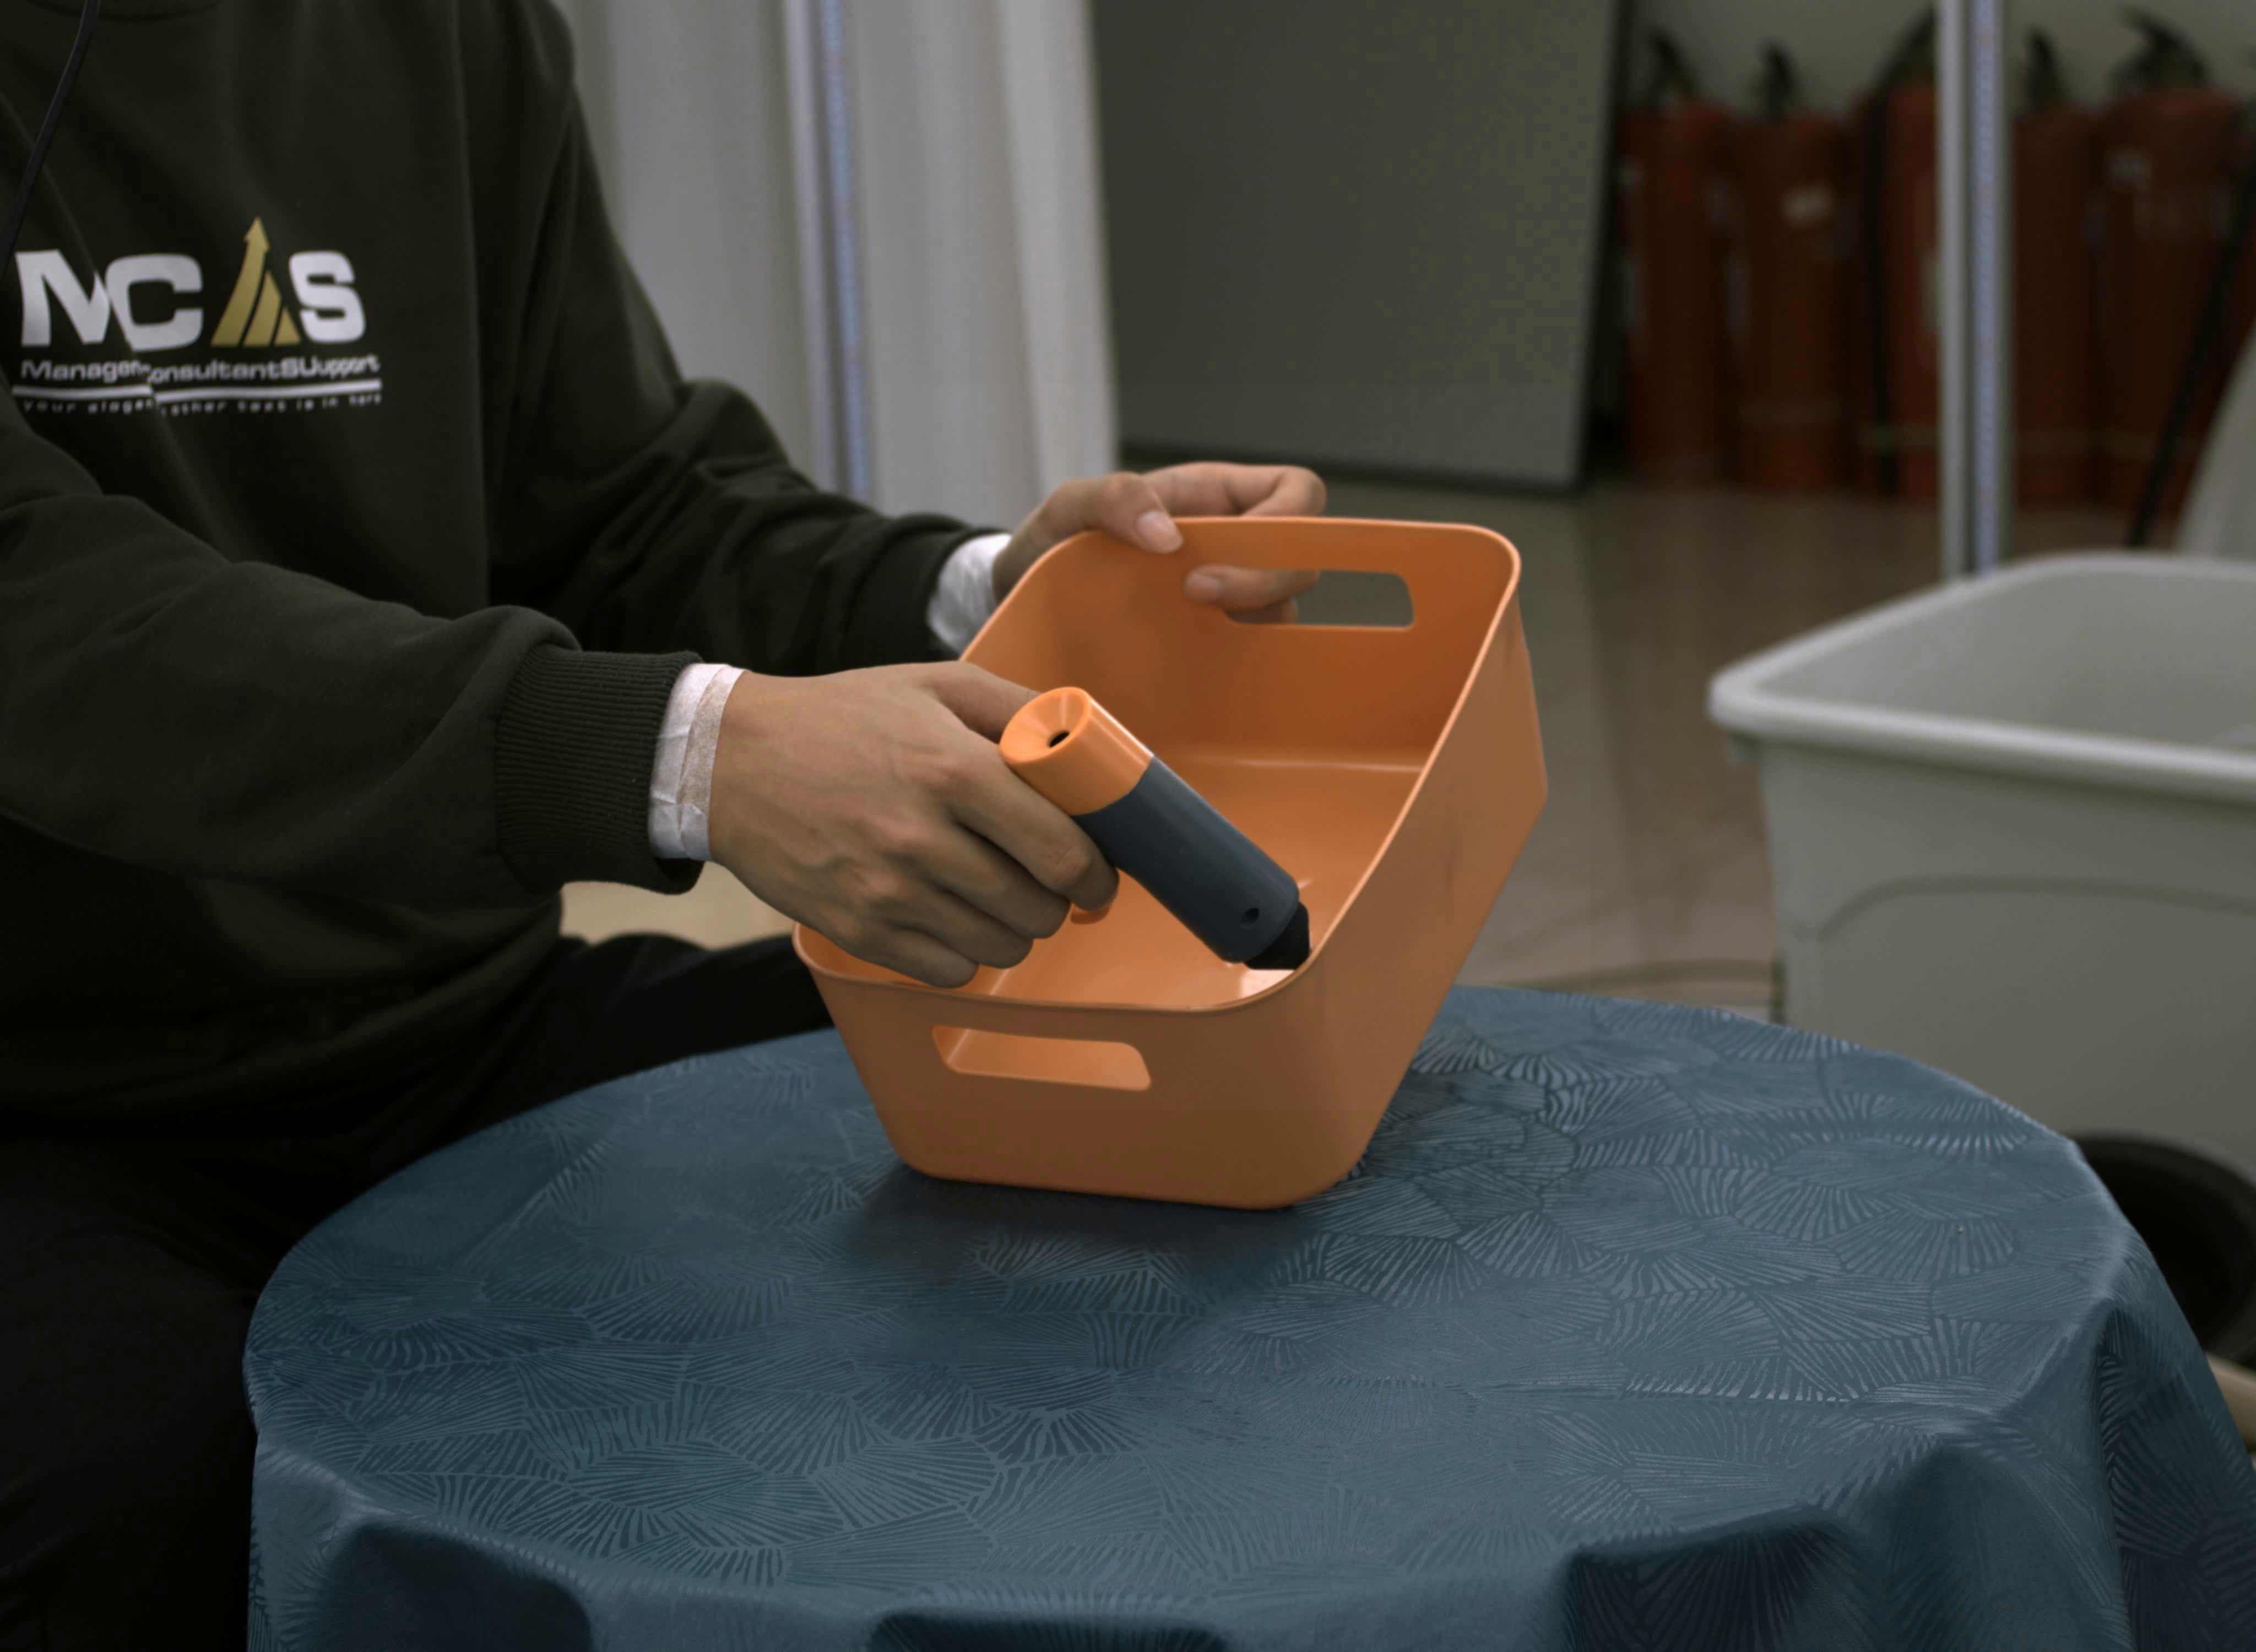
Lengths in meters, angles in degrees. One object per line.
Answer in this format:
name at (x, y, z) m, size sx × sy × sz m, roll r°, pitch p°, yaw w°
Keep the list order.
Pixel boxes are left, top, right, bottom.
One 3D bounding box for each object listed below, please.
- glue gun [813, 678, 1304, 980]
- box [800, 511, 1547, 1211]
glue gun at (-0.021, 0.011, 1.701) m, size 0.140 × 0.117 × 0.041 m, roll -8°, pitch 39°, yaw 35°
box at (0.024, 0.013, 1.835) m, size 0.200 × 0.102 × 0.272 m, roll 1°, pitch 38°, yaw 27°
